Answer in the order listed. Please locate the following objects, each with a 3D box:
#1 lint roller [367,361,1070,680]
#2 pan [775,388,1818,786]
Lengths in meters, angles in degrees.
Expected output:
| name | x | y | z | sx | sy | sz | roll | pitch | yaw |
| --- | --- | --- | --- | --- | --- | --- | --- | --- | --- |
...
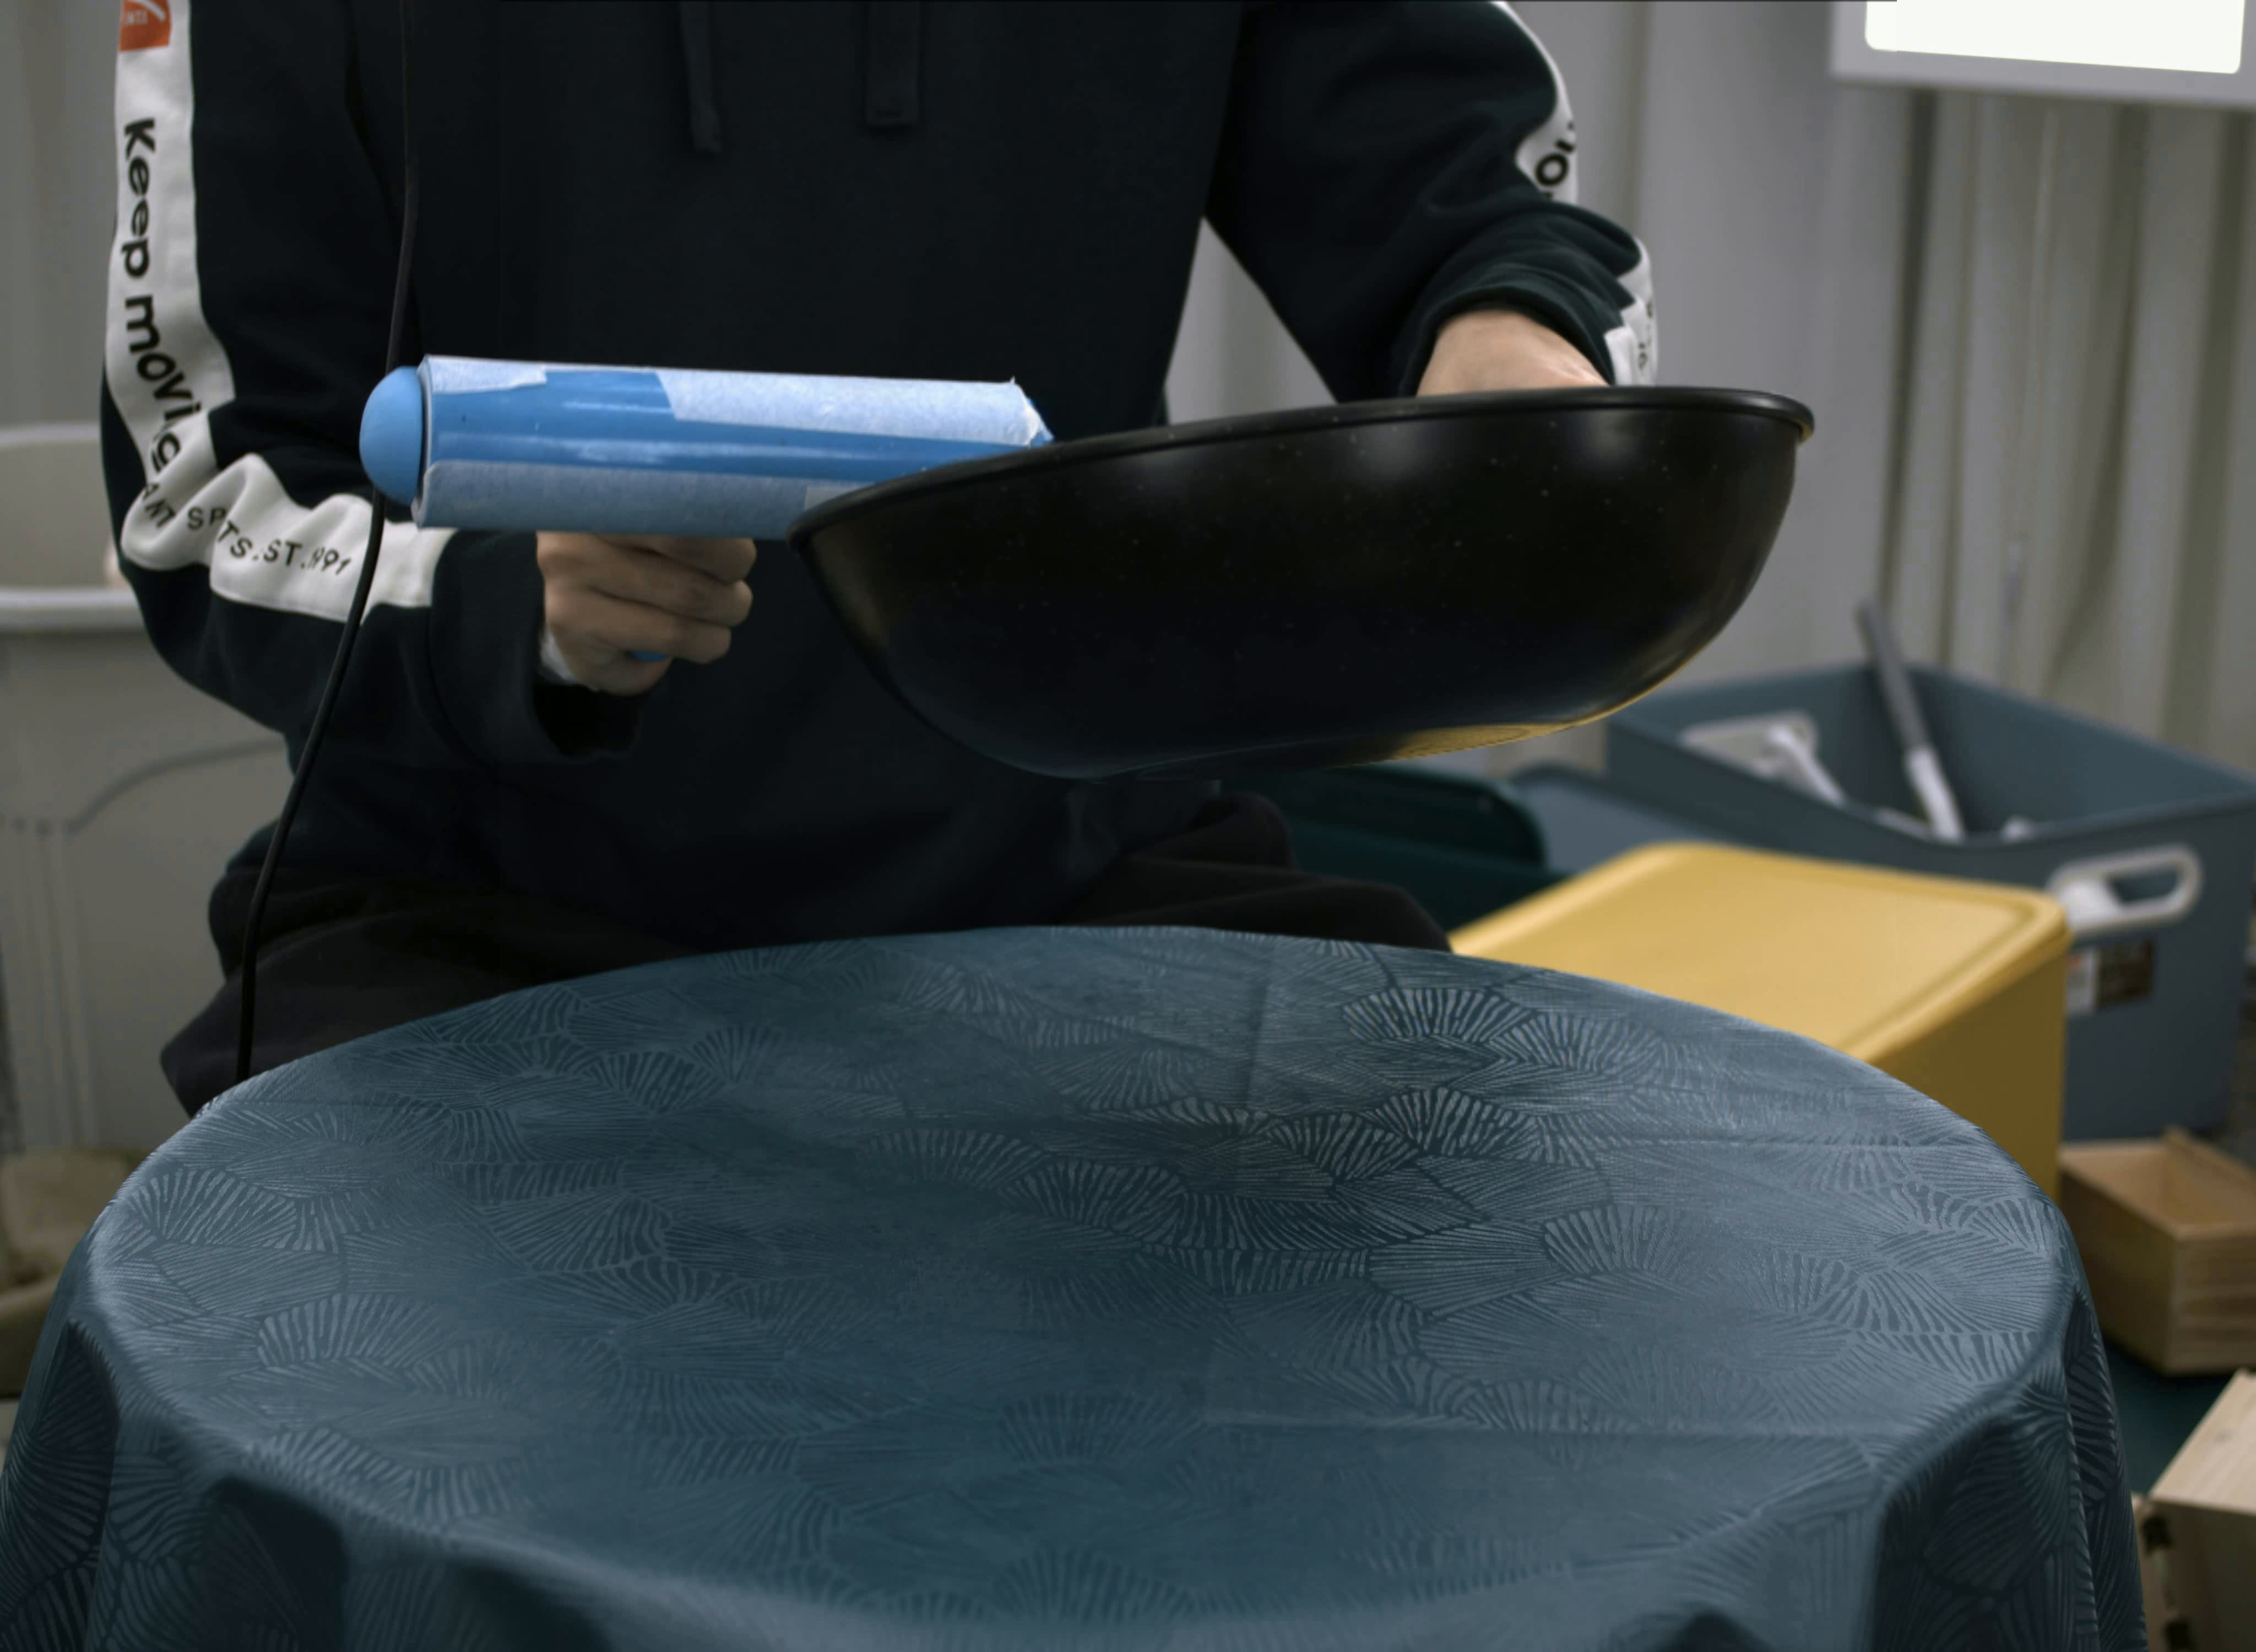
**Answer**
| name | x | y | z | sx | sy | sz | roll | pitch | yaw |
| --- | --- | --- | --- | --- | --- | --- | --- | --- | --- |
| lint roller | -0.145 | -0.104 | 1.724 | 0.229 | 0.068 | 0.180 | 0 | -14 | -19 |
| pan | 0.083 | -0.073 | 1.637 | 0.307 | 0.112 | 0.480 | -6 | -3 | 21 |
